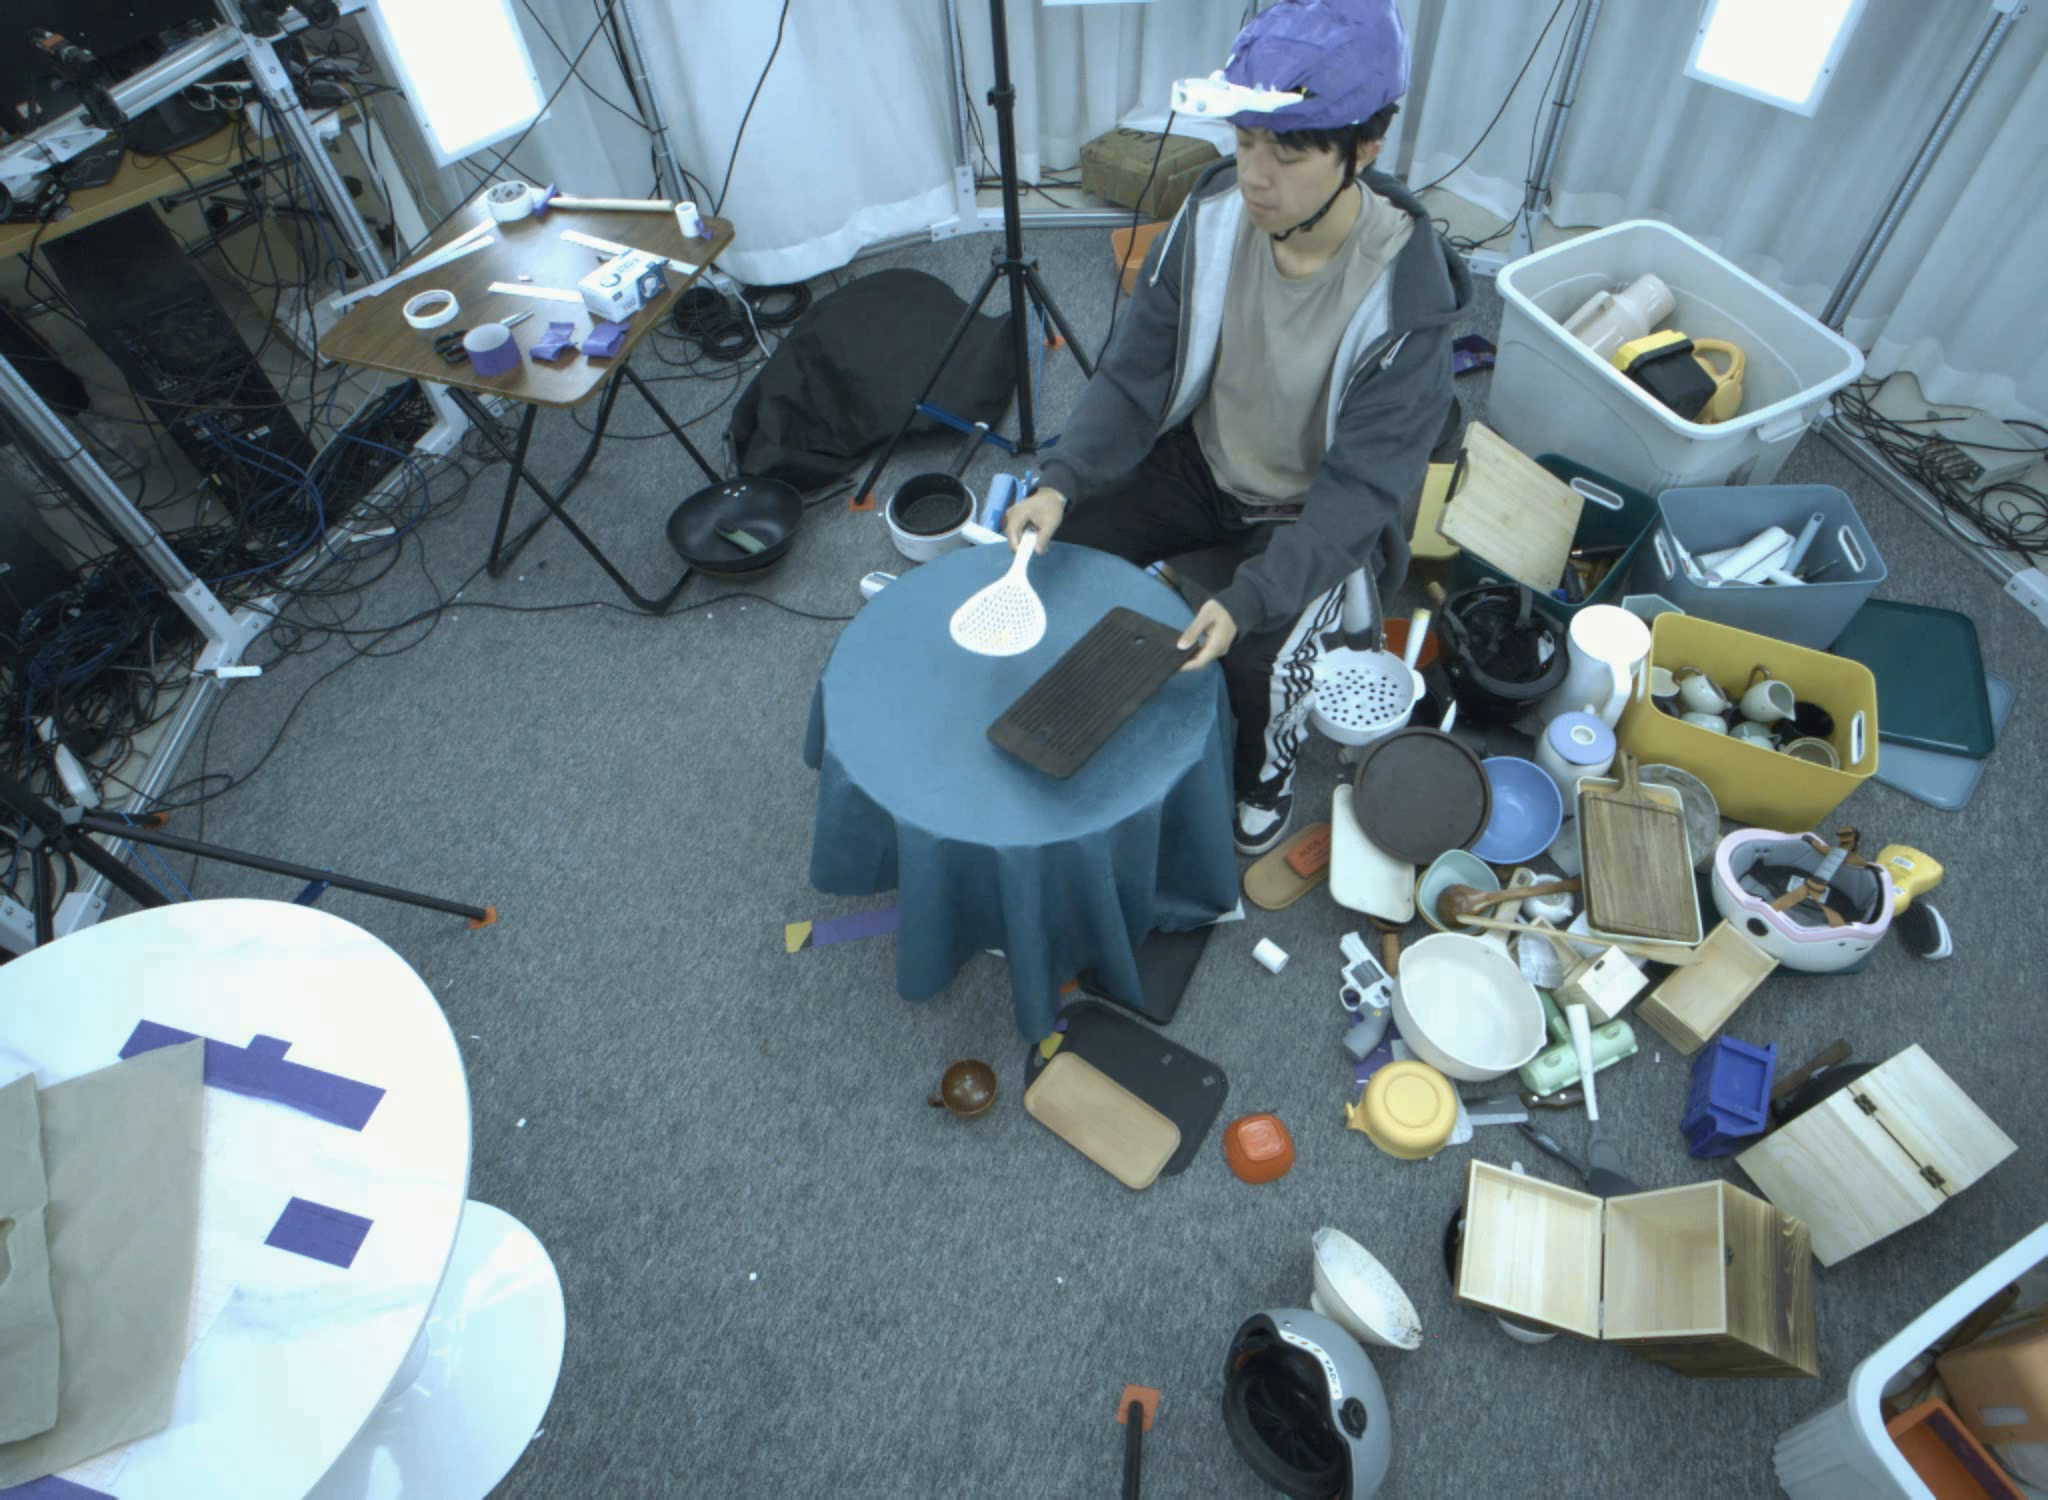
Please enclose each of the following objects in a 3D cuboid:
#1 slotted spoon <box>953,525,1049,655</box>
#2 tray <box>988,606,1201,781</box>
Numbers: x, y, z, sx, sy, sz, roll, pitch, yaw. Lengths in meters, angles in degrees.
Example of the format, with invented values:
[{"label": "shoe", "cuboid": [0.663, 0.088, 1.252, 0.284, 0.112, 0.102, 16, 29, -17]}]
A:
[{"label": "slotted spoon", "cuboid": [-0.013, -0.249, 1.828, 0.136, 0.051, 0.346, 7, 48, 7]}, {"label": "tray", "cuboid": [0.103, -0.086, 1.779, 0.166, 0.019, 0.307, 30, 64, 36]}]
